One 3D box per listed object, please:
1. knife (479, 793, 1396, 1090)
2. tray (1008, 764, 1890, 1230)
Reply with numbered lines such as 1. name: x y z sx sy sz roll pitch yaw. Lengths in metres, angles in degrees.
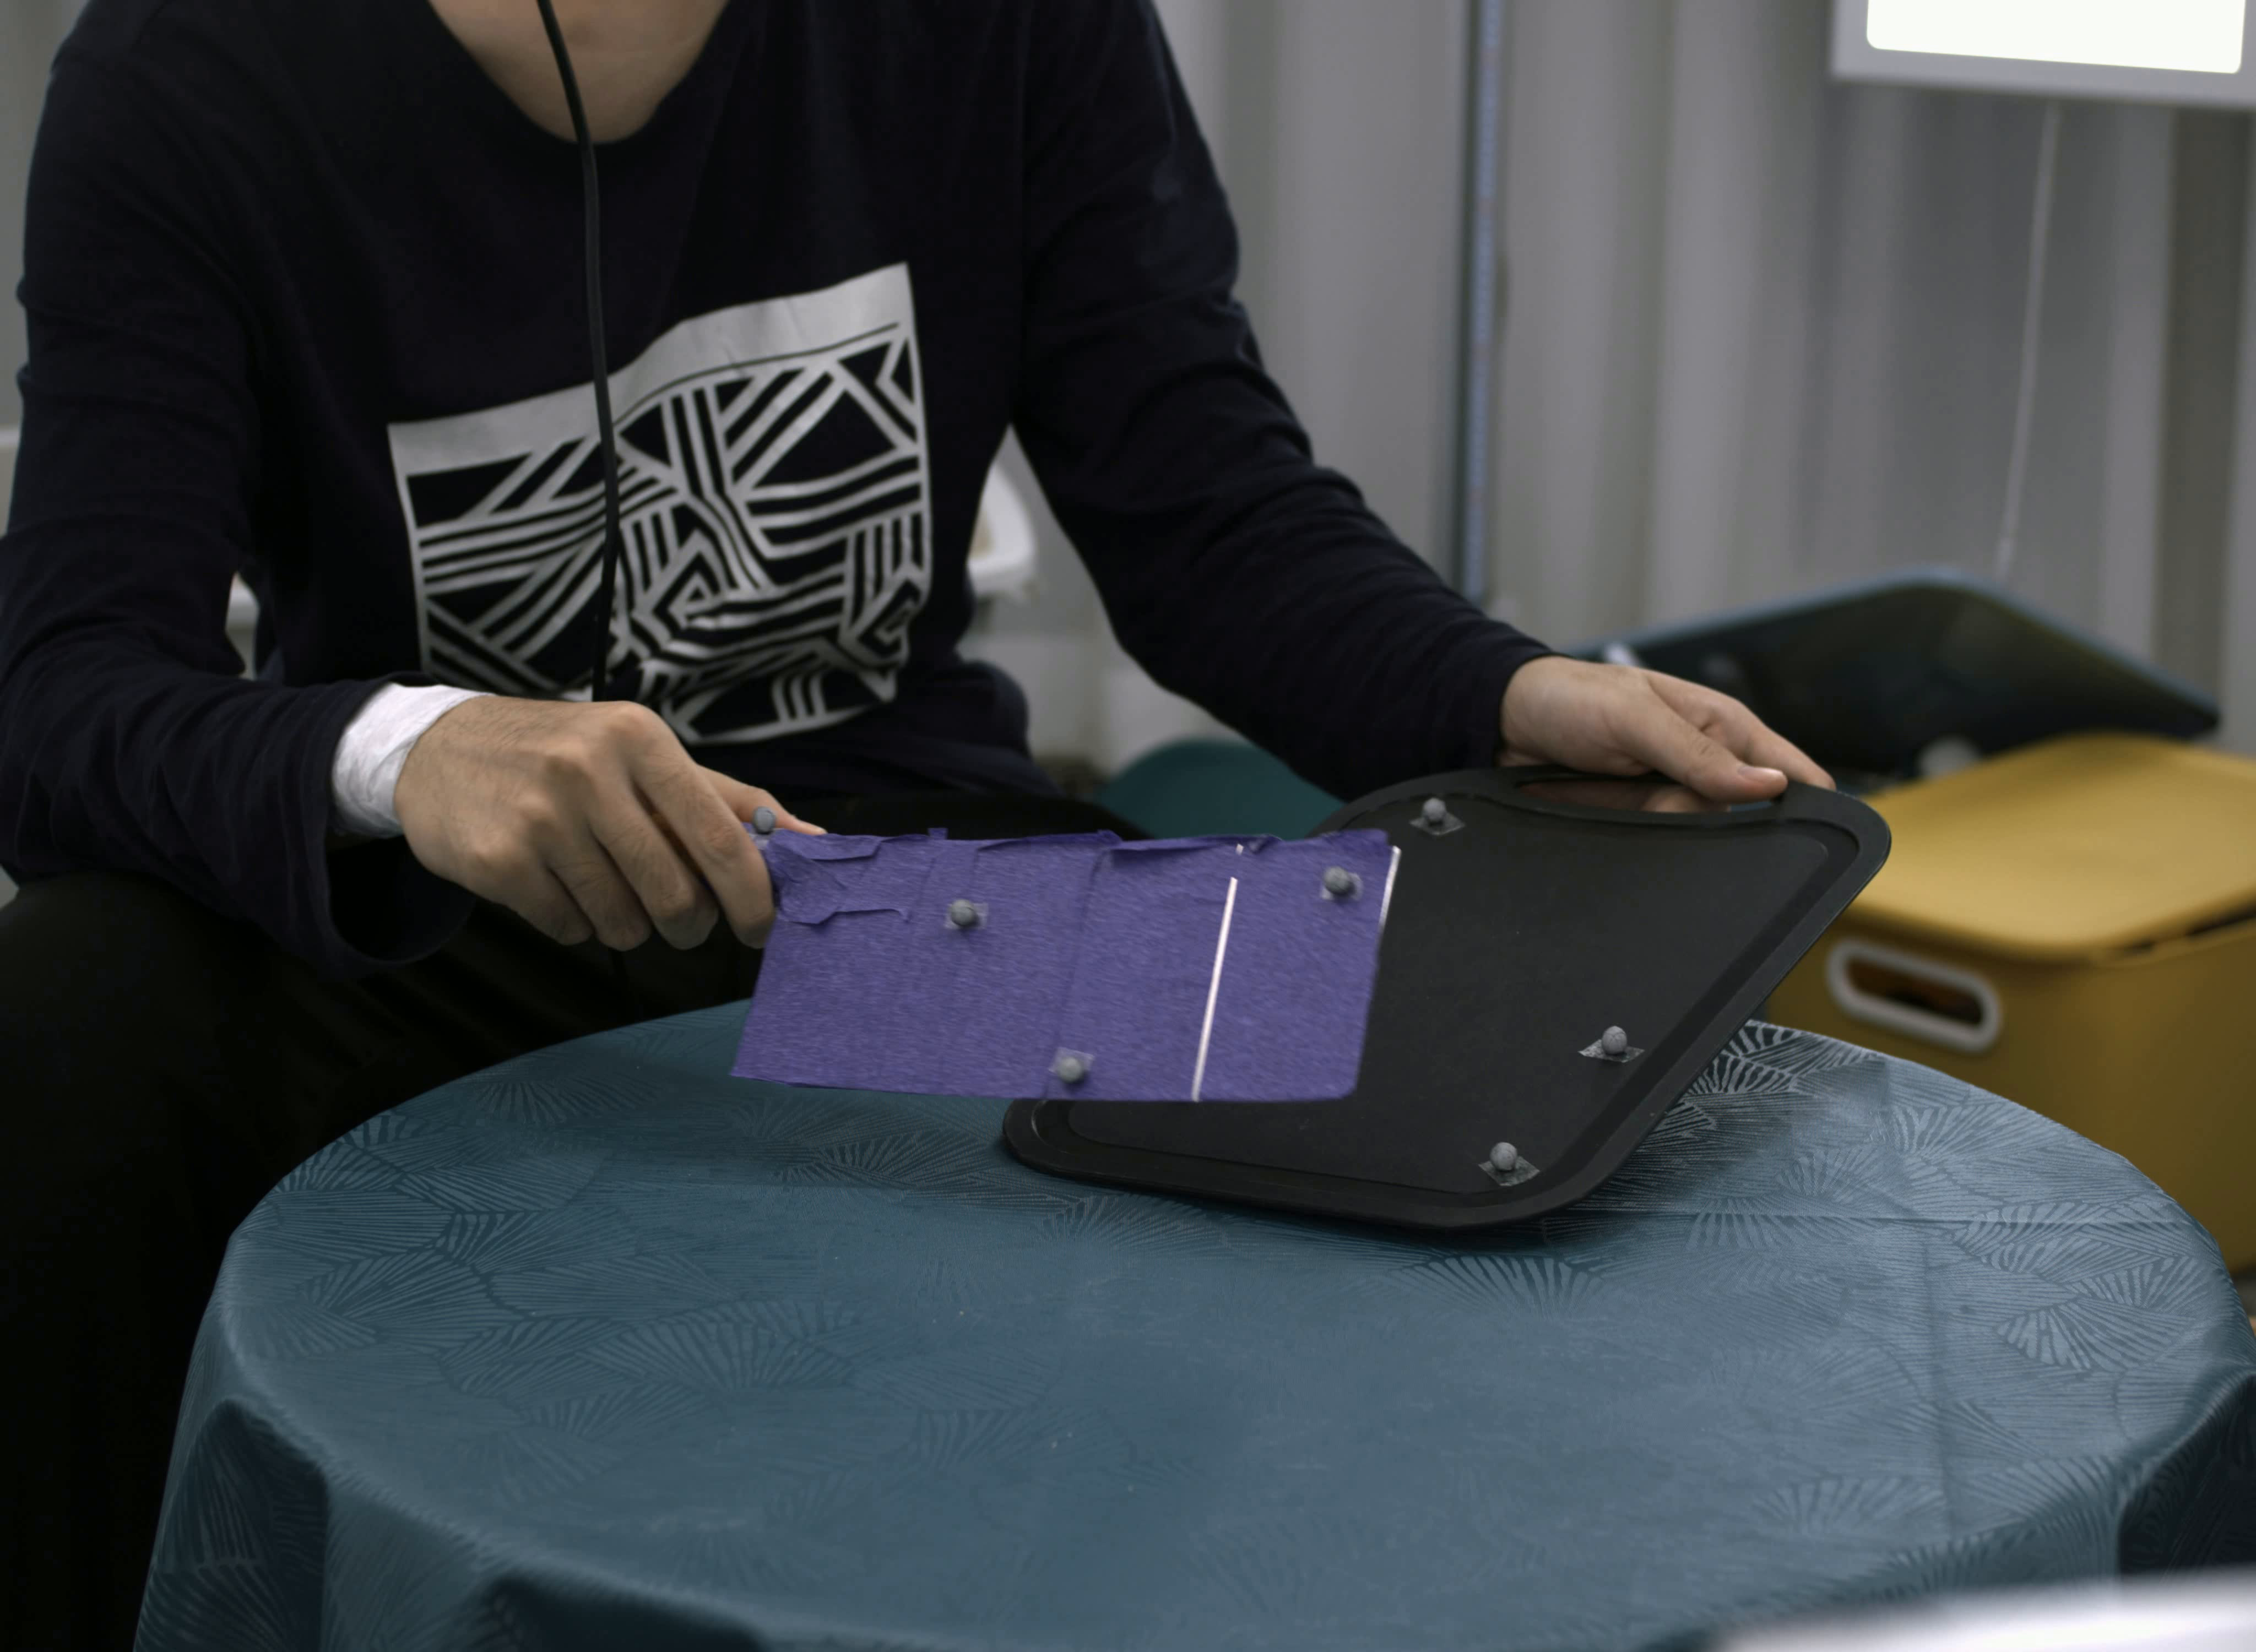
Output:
1. knife: -0.069 0.037 1.632 0.312 0.032 0.103 -2 58 25
2. tray: 0.113 0.046 1.729 0.208 0.010 0.325 6 28 30
